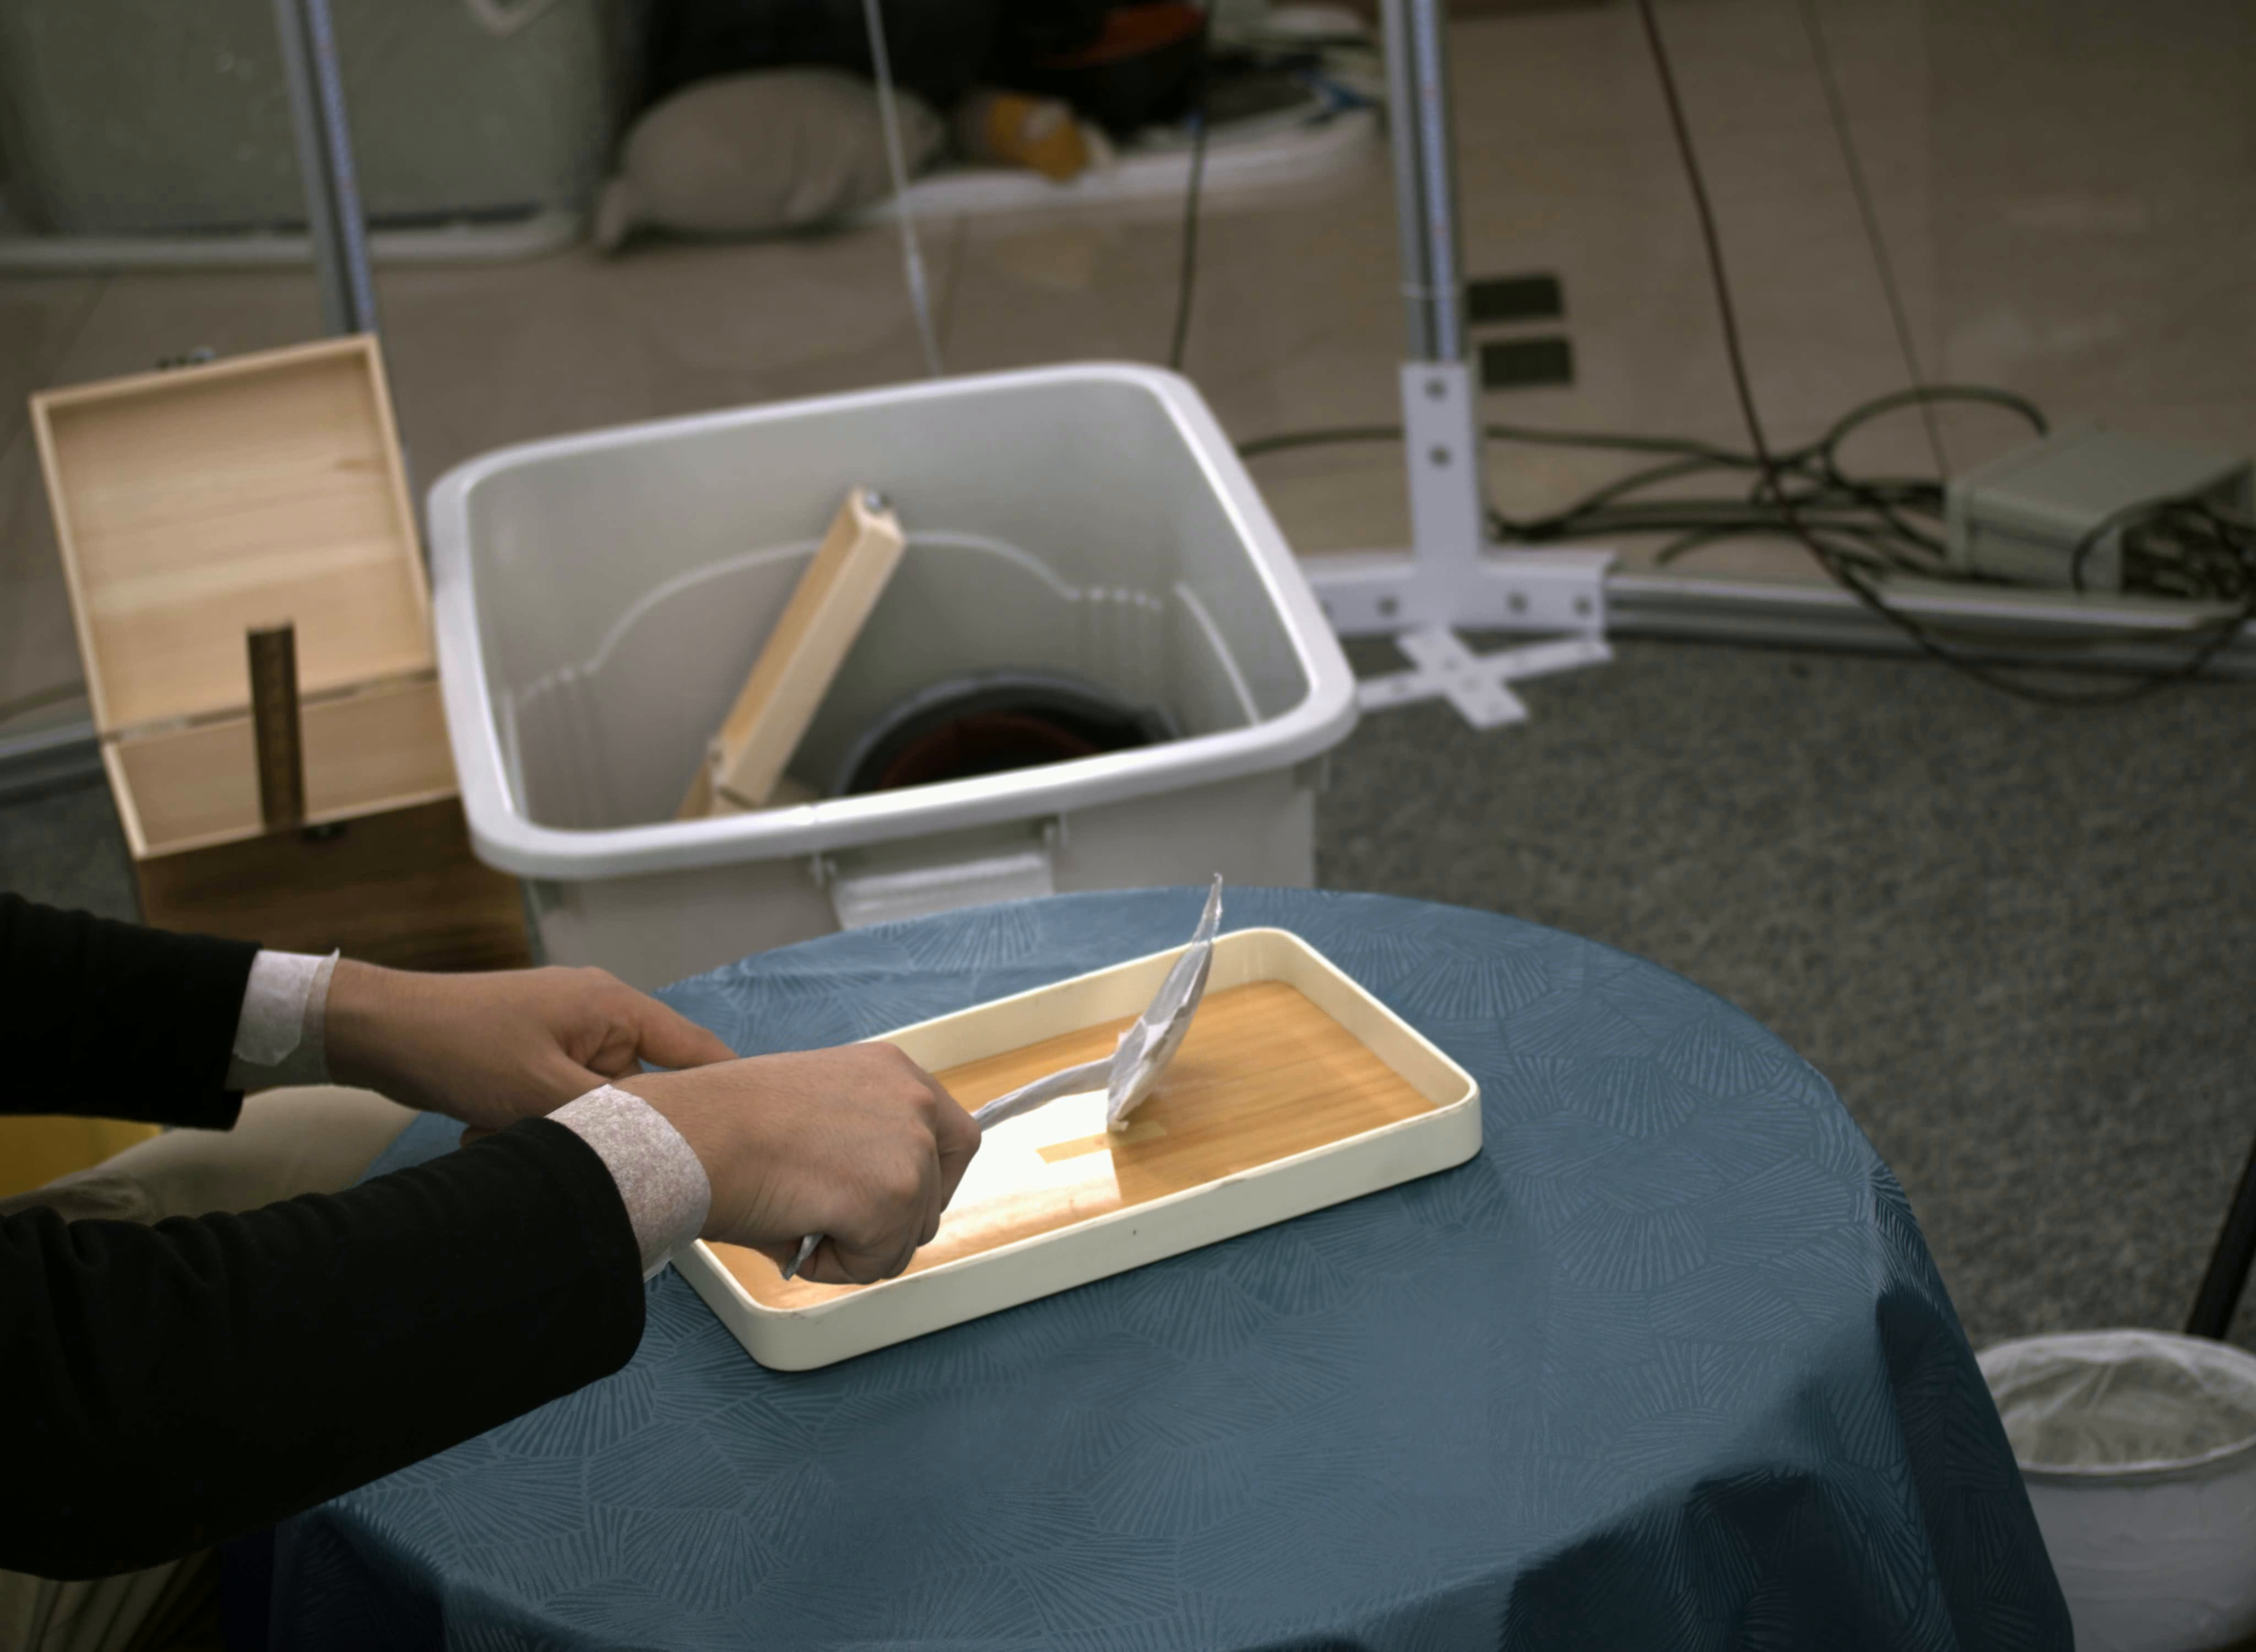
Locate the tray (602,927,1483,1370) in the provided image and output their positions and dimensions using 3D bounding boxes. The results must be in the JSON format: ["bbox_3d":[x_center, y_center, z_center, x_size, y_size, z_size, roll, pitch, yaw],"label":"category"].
[{"bbox_3d":[-0.034,0.119,2.167,0.299,0.028,0.189,-16,26,-19],"label":"tray"}]

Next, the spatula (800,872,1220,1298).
[{"bbox_3d":[-0.044,0.100,2.063,0.044,0.100,0.362,36,25,14],"label":"spatula"}]
